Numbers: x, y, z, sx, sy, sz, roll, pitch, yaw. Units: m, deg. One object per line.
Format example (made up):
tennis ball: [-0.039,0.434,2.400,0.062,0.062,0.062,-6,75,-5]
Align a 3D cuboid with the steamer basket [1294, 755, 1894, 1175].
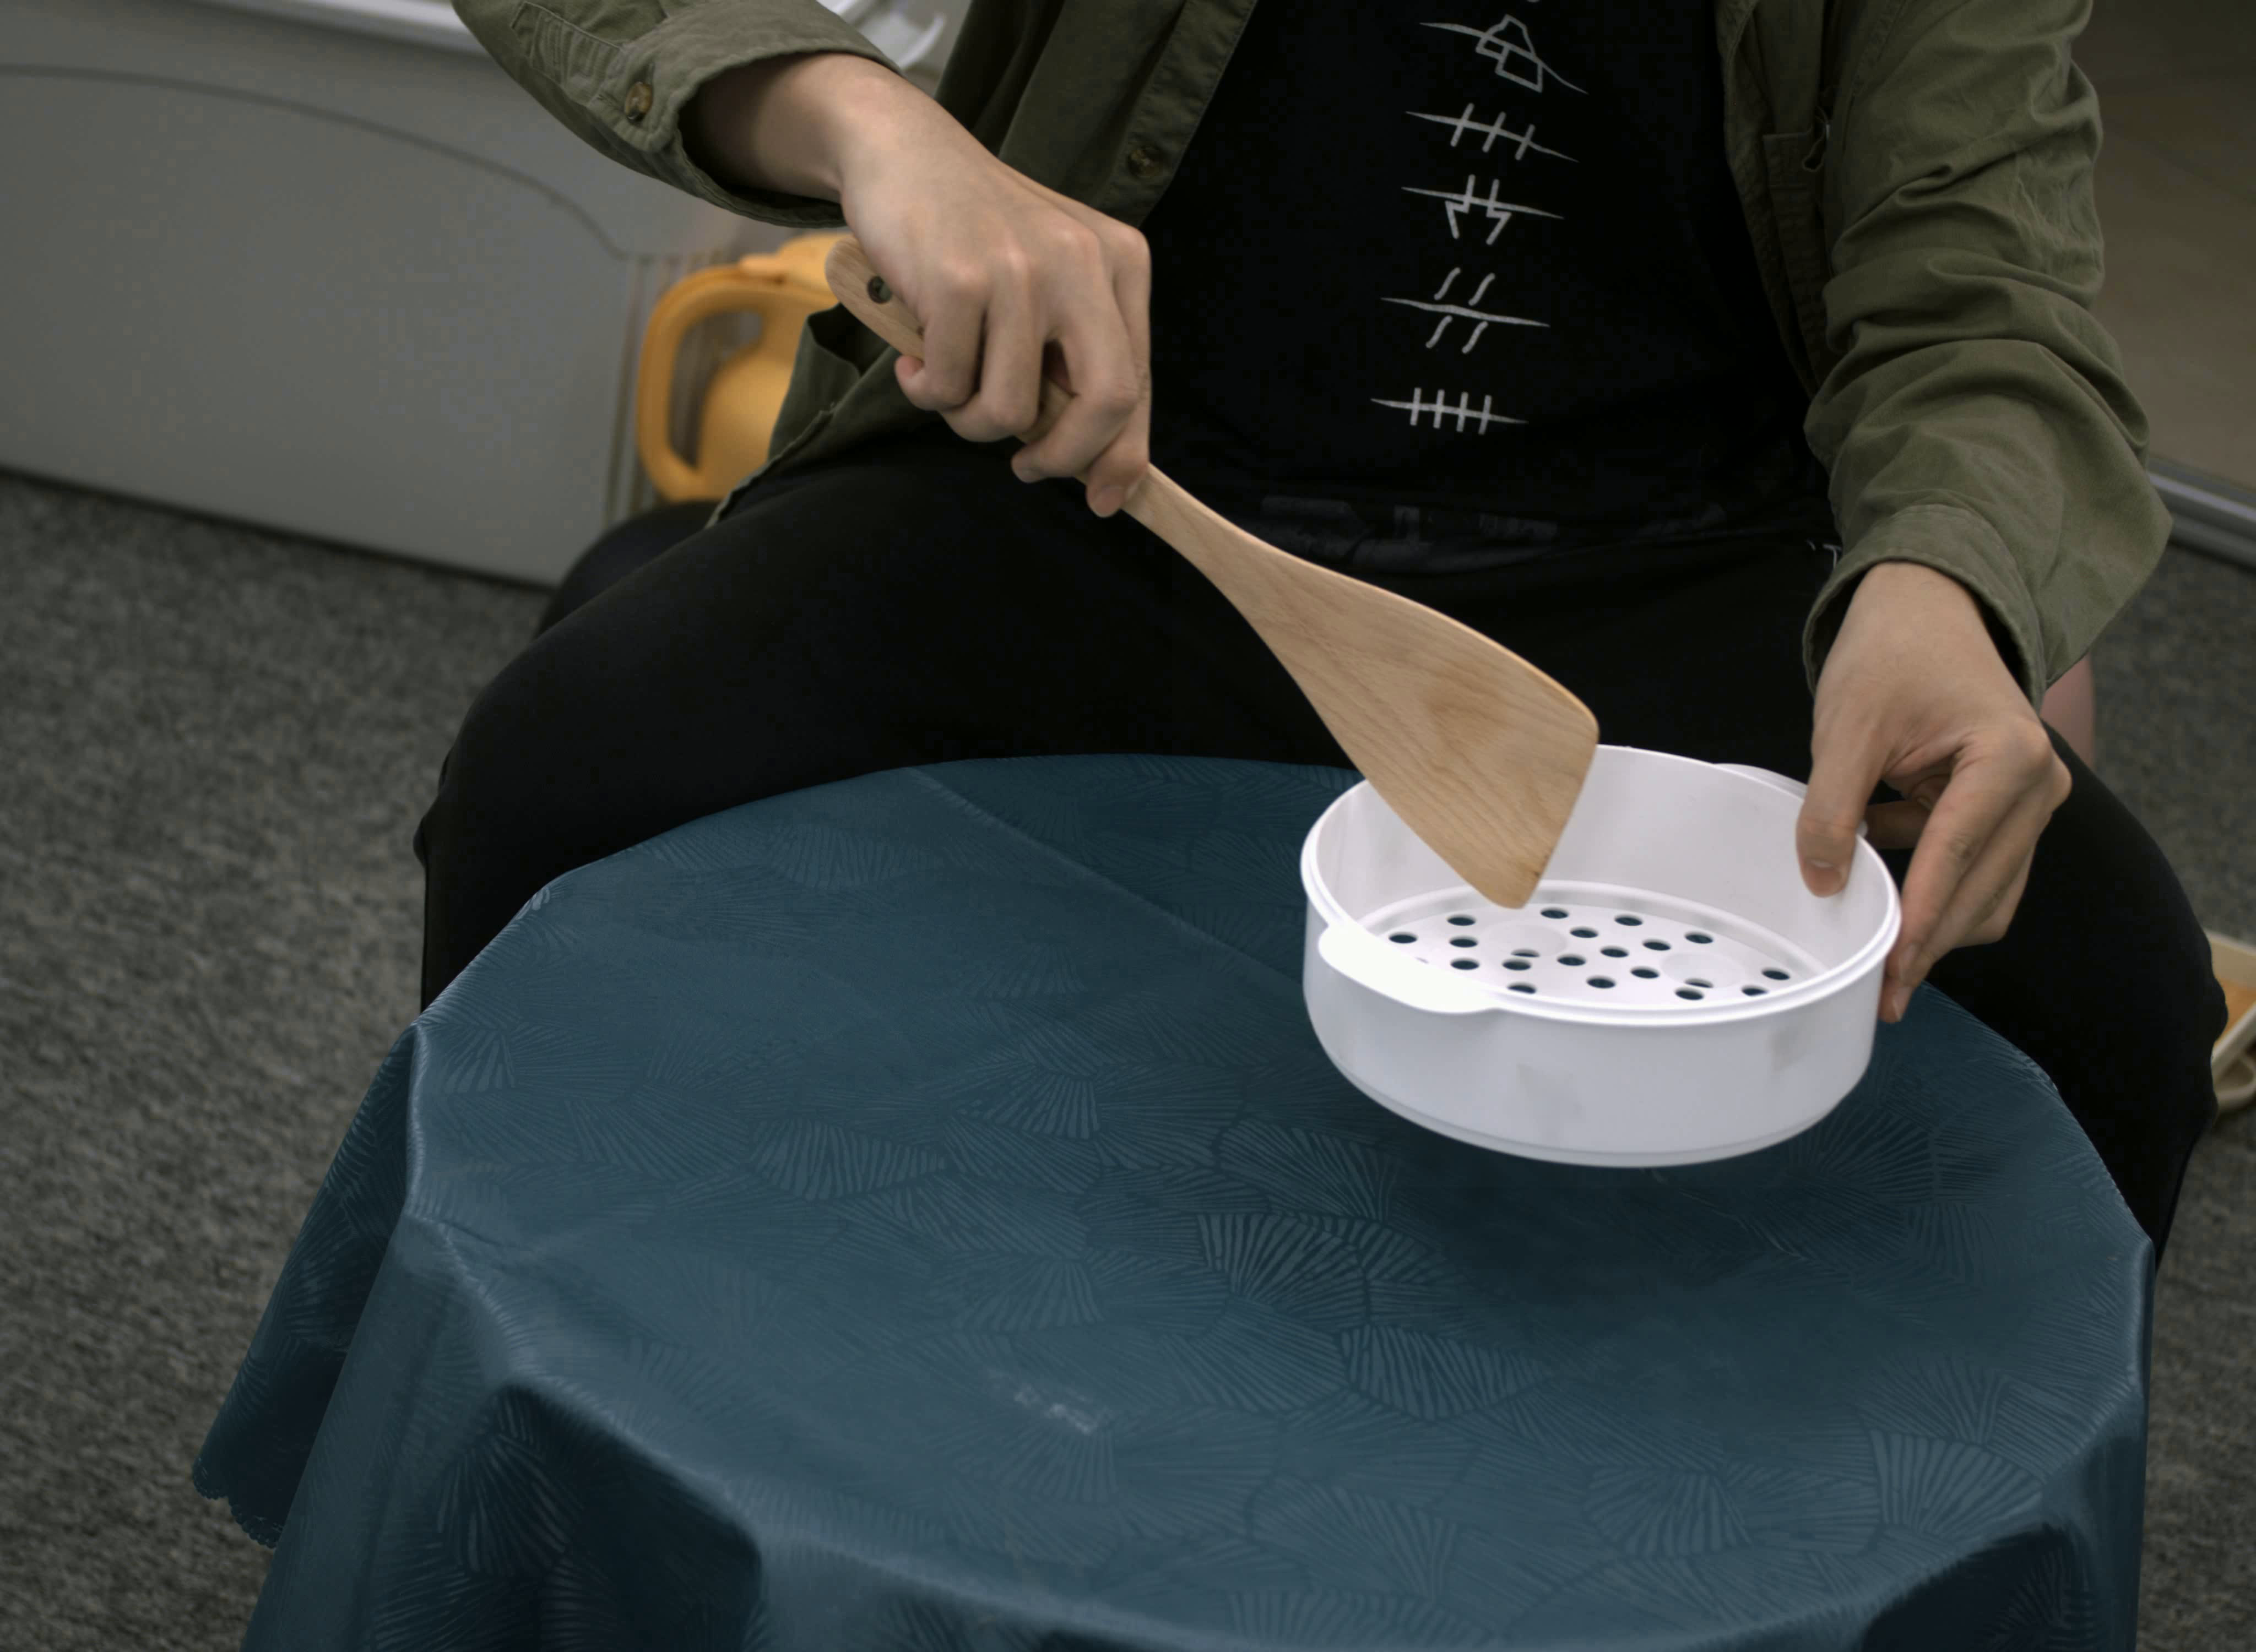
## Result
steamer basket: [0.153,0.047,1.790,0.229,0.069,0.203,-20,34,-41]

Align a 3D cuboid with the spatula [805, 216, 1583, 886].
spatula: [0.018,-0.105,1.808,0.328,0.080,0.016,38,30,9]
